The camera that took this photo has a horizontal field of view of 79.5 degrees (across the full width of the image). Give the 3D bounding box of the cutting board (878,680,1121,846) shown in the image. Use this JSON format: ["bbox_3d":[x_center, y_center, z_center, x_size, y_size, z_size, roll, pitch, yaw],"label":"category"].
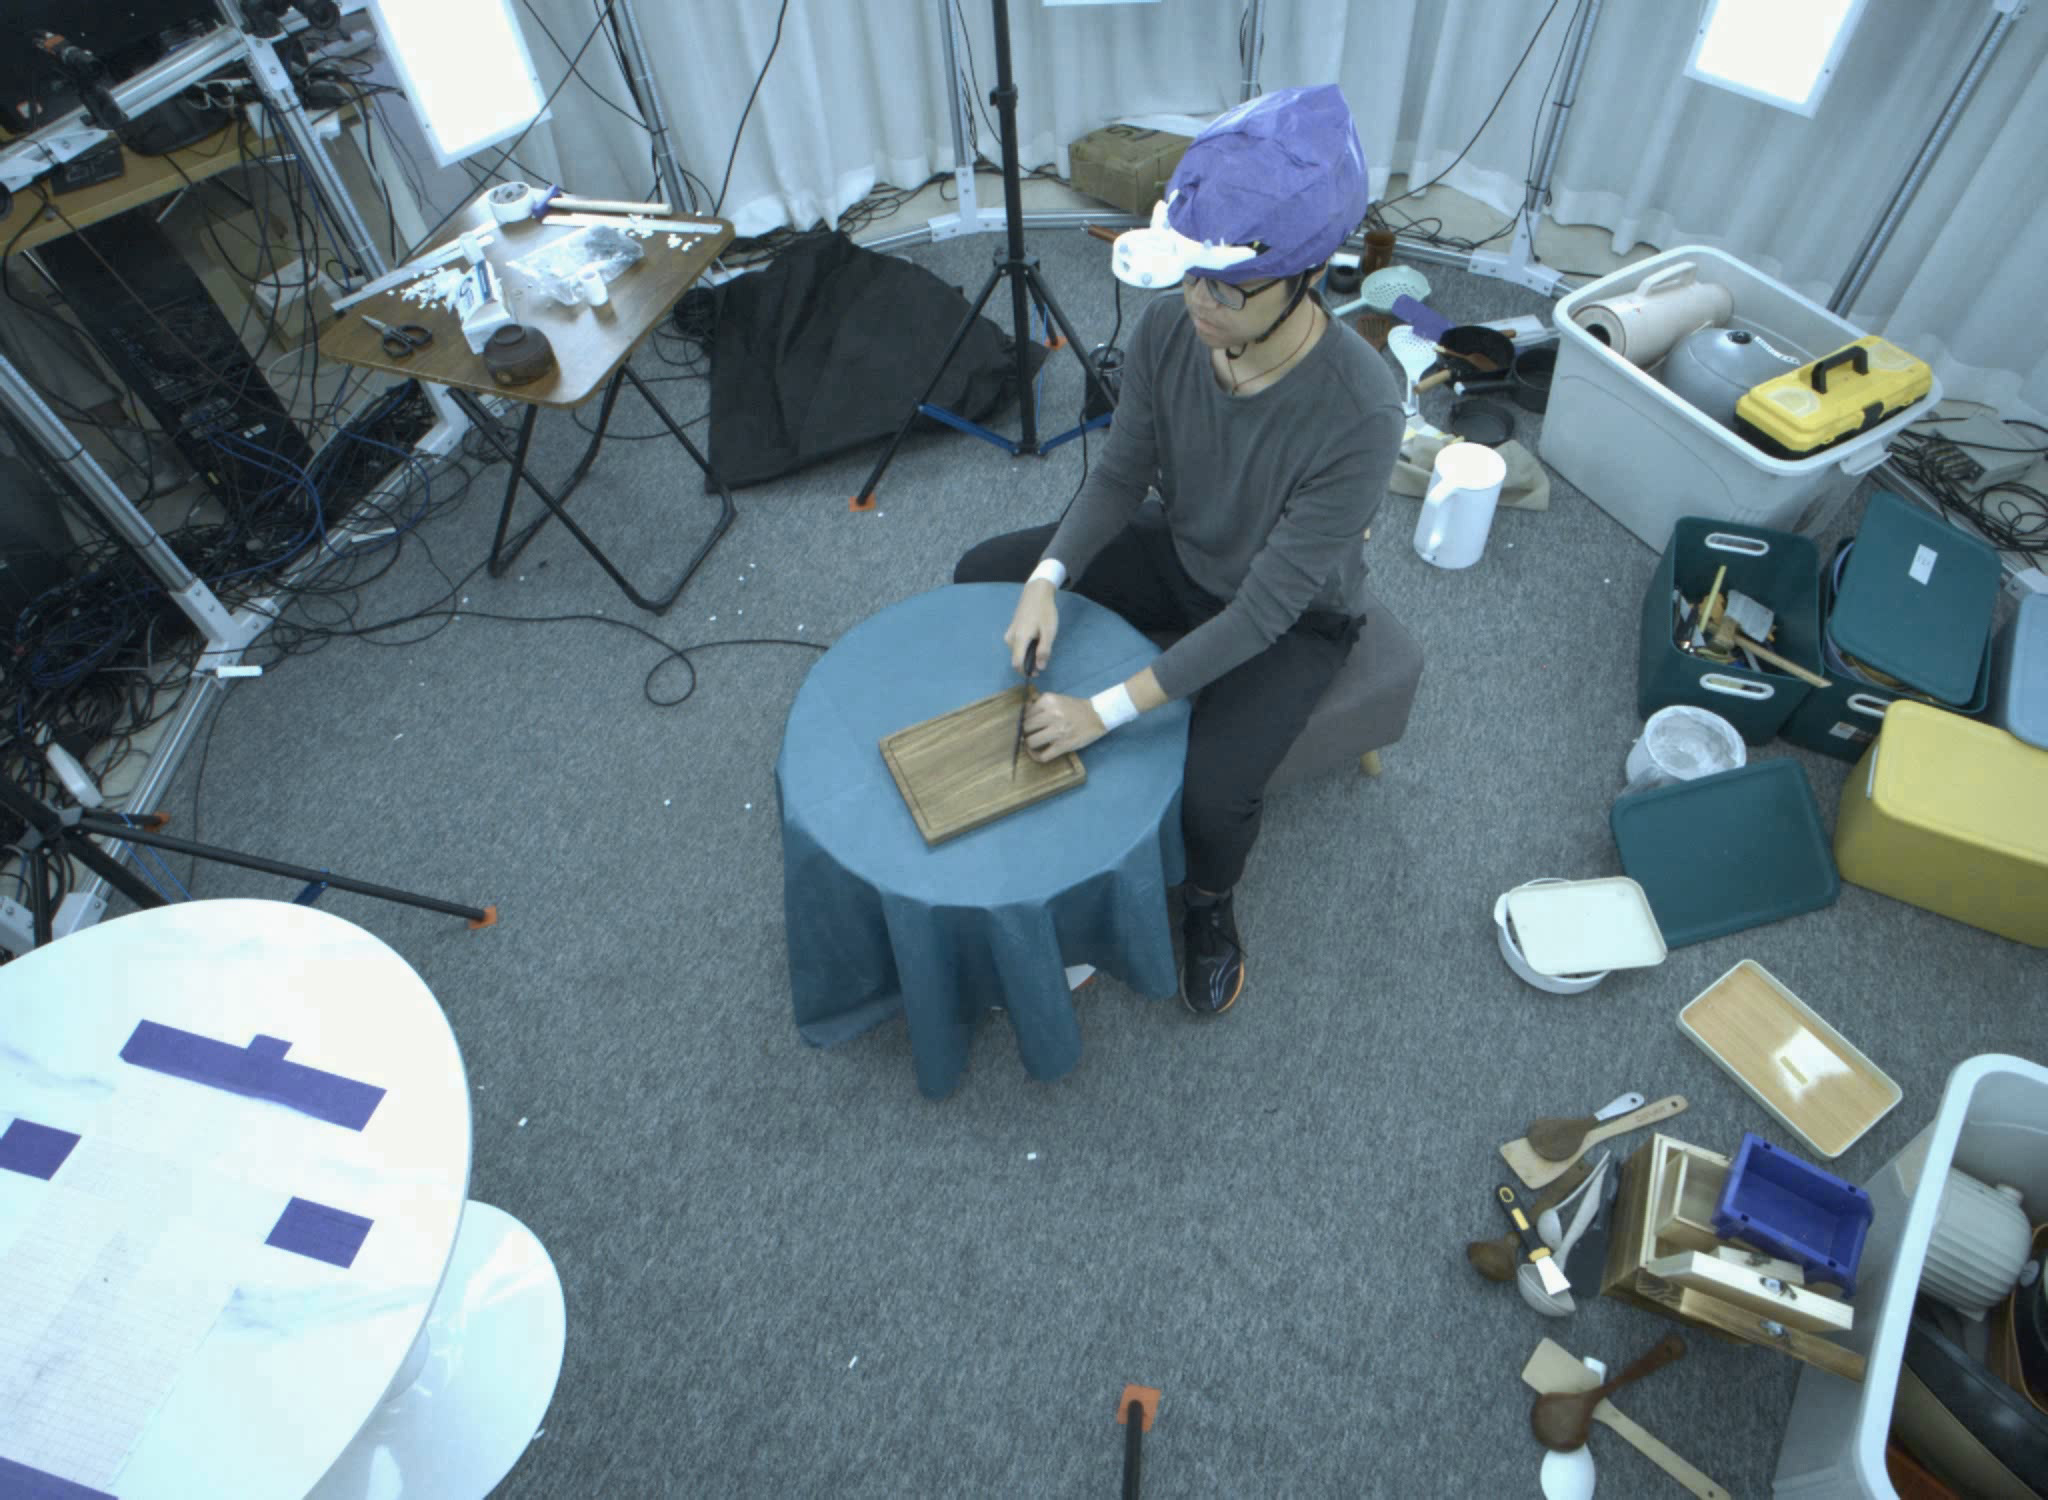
[{"bbox_3d":[-0.017,-0.004,1.785,0.355,0.023,0.197,-22,57,-14],"label":"cutting board"}]

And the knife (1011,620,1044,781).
[{"bbox_3d":[0.003,-0.081,1.780,0.021,0.082,0.300,5,49,6],"label":"knife"}]
